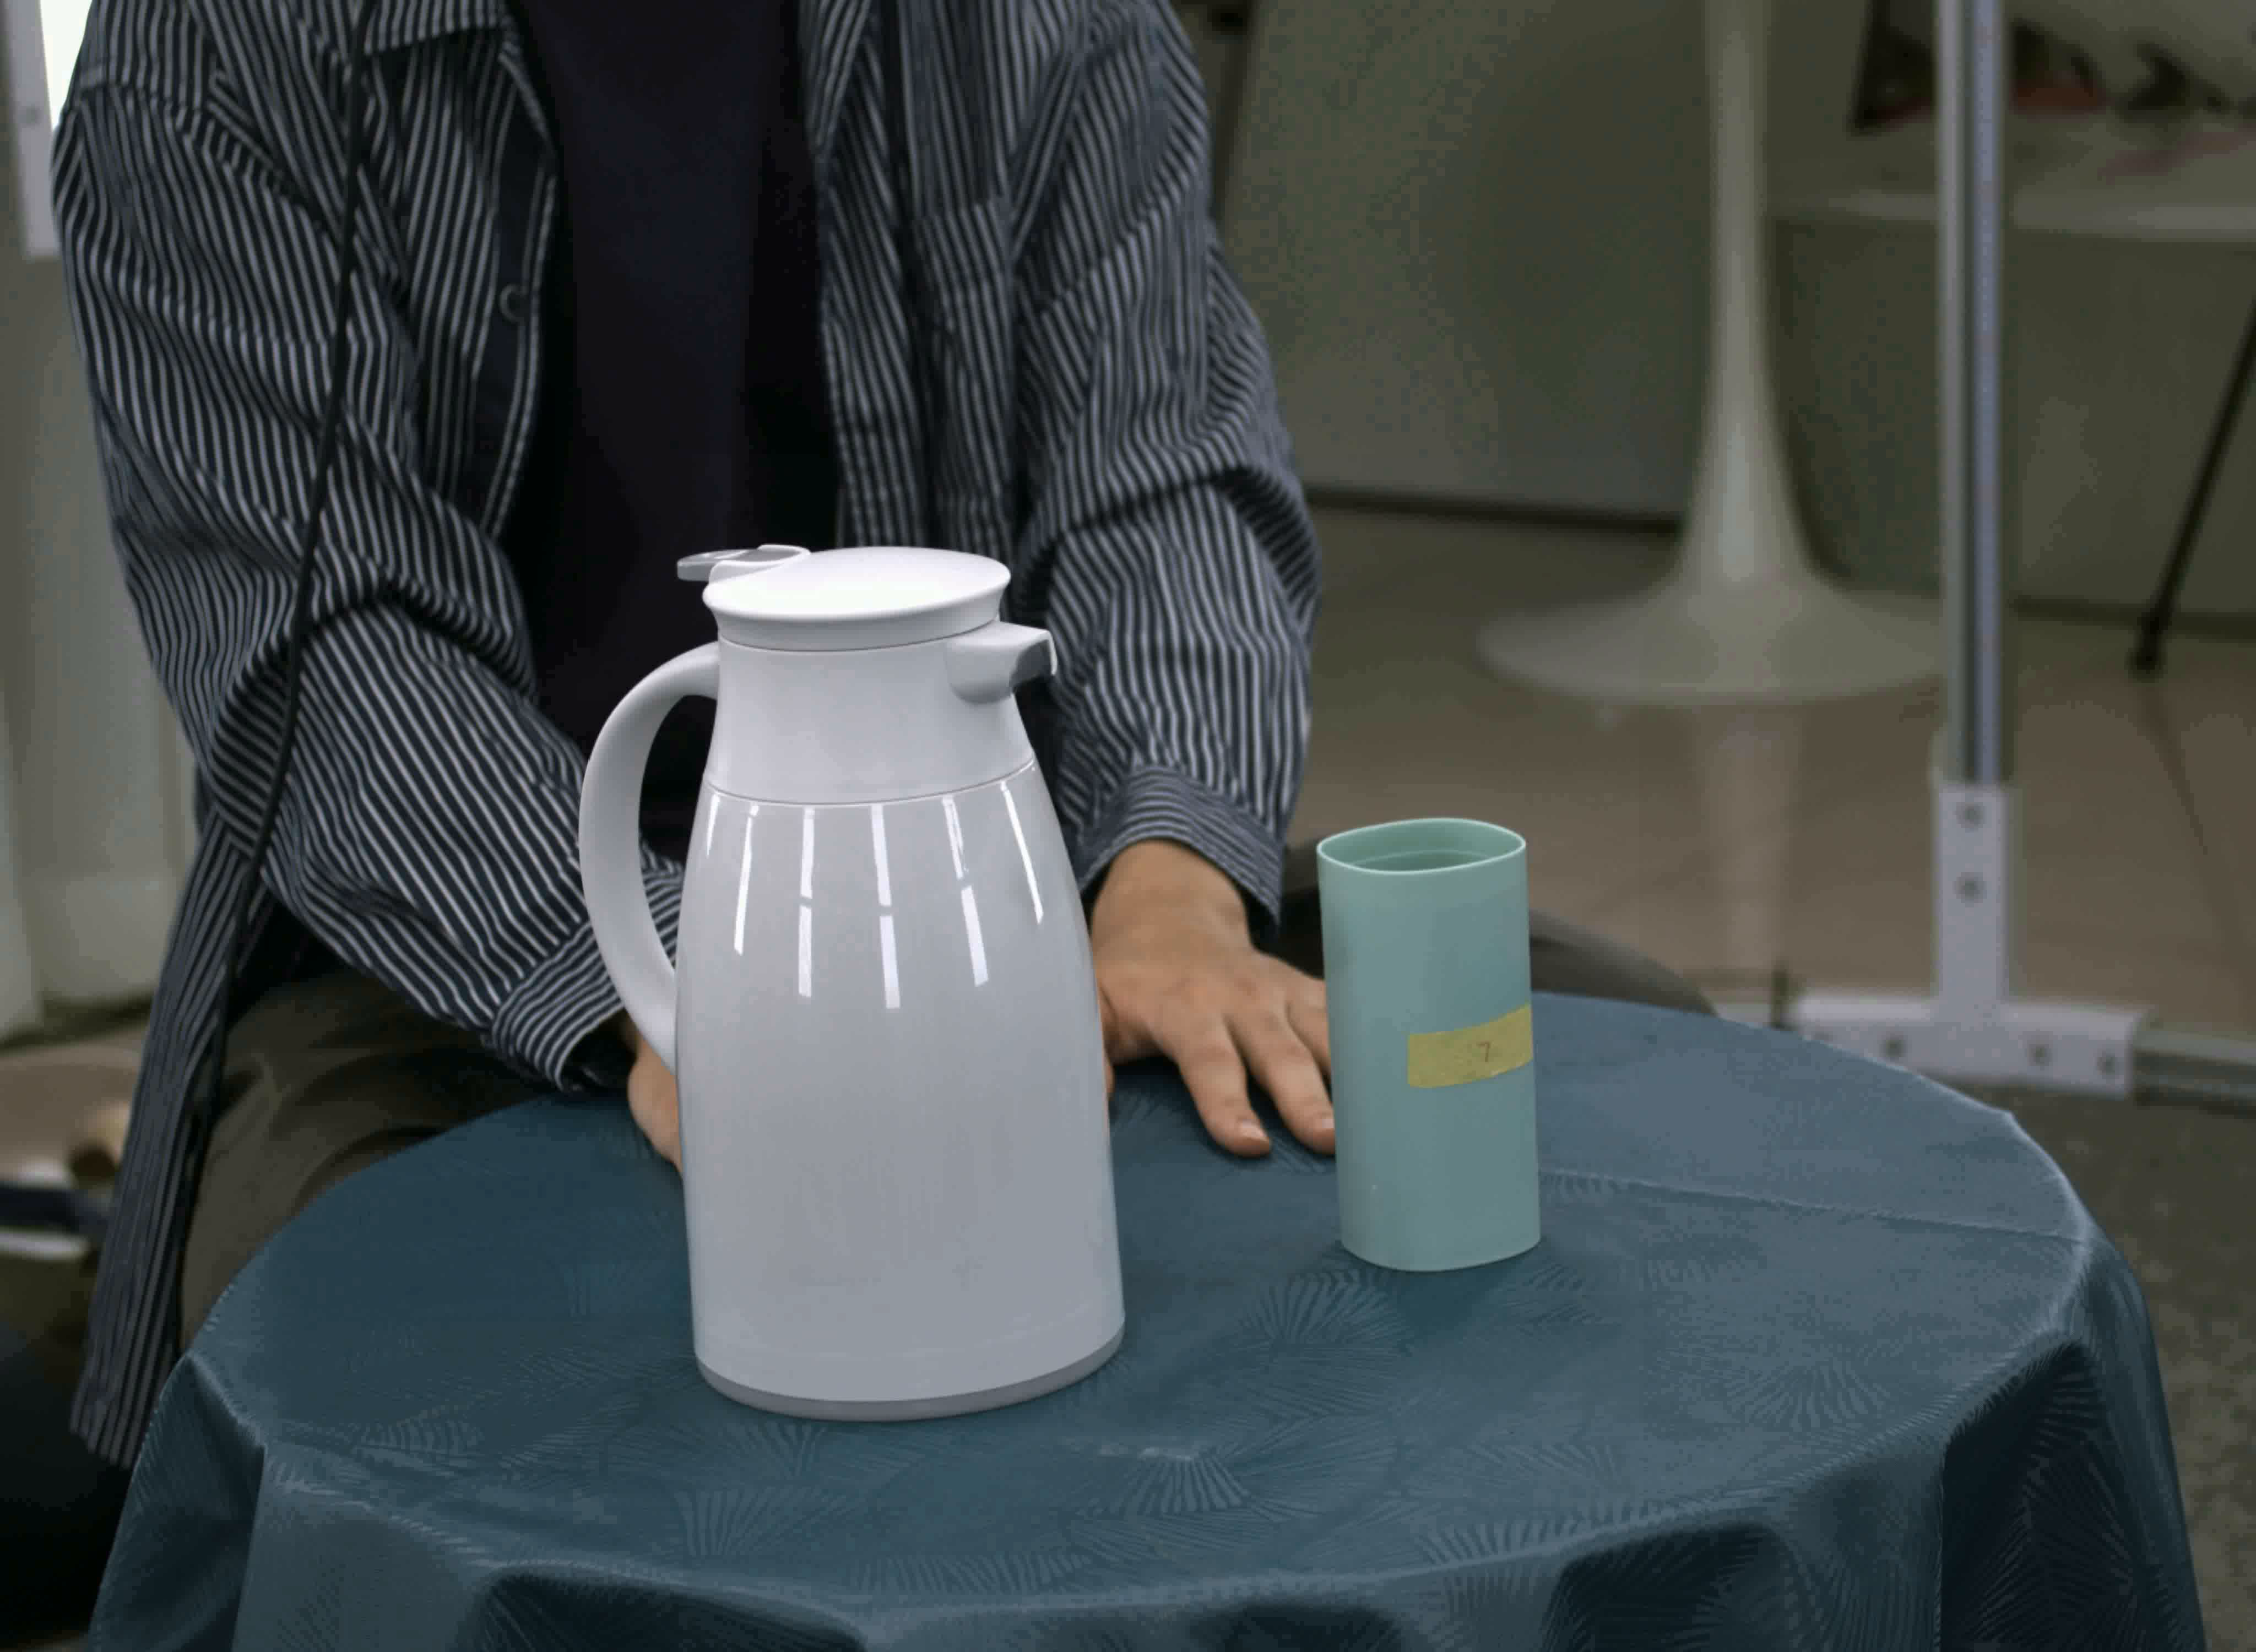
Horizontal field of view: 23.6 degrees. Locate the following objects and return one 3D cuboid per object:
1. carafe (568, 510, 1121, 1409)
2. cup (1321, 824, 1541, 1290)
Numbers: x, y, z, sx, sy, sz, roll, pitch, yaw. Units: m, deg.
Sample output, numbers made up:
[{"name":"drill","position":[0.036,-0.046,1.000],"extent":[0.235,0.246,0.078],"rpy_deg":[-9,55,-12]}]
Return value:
[{"name":"carafe","position":[-0.091,0.032,1.614],"extent":[0.168,0.251,0.130],"rpy_deg":[3,15,29]},{"name":"cup","position":[0.095,0.071,1.684],"extent":[0.066,0.134,0.067],"rpy_deg":[-3,14,0]}]
